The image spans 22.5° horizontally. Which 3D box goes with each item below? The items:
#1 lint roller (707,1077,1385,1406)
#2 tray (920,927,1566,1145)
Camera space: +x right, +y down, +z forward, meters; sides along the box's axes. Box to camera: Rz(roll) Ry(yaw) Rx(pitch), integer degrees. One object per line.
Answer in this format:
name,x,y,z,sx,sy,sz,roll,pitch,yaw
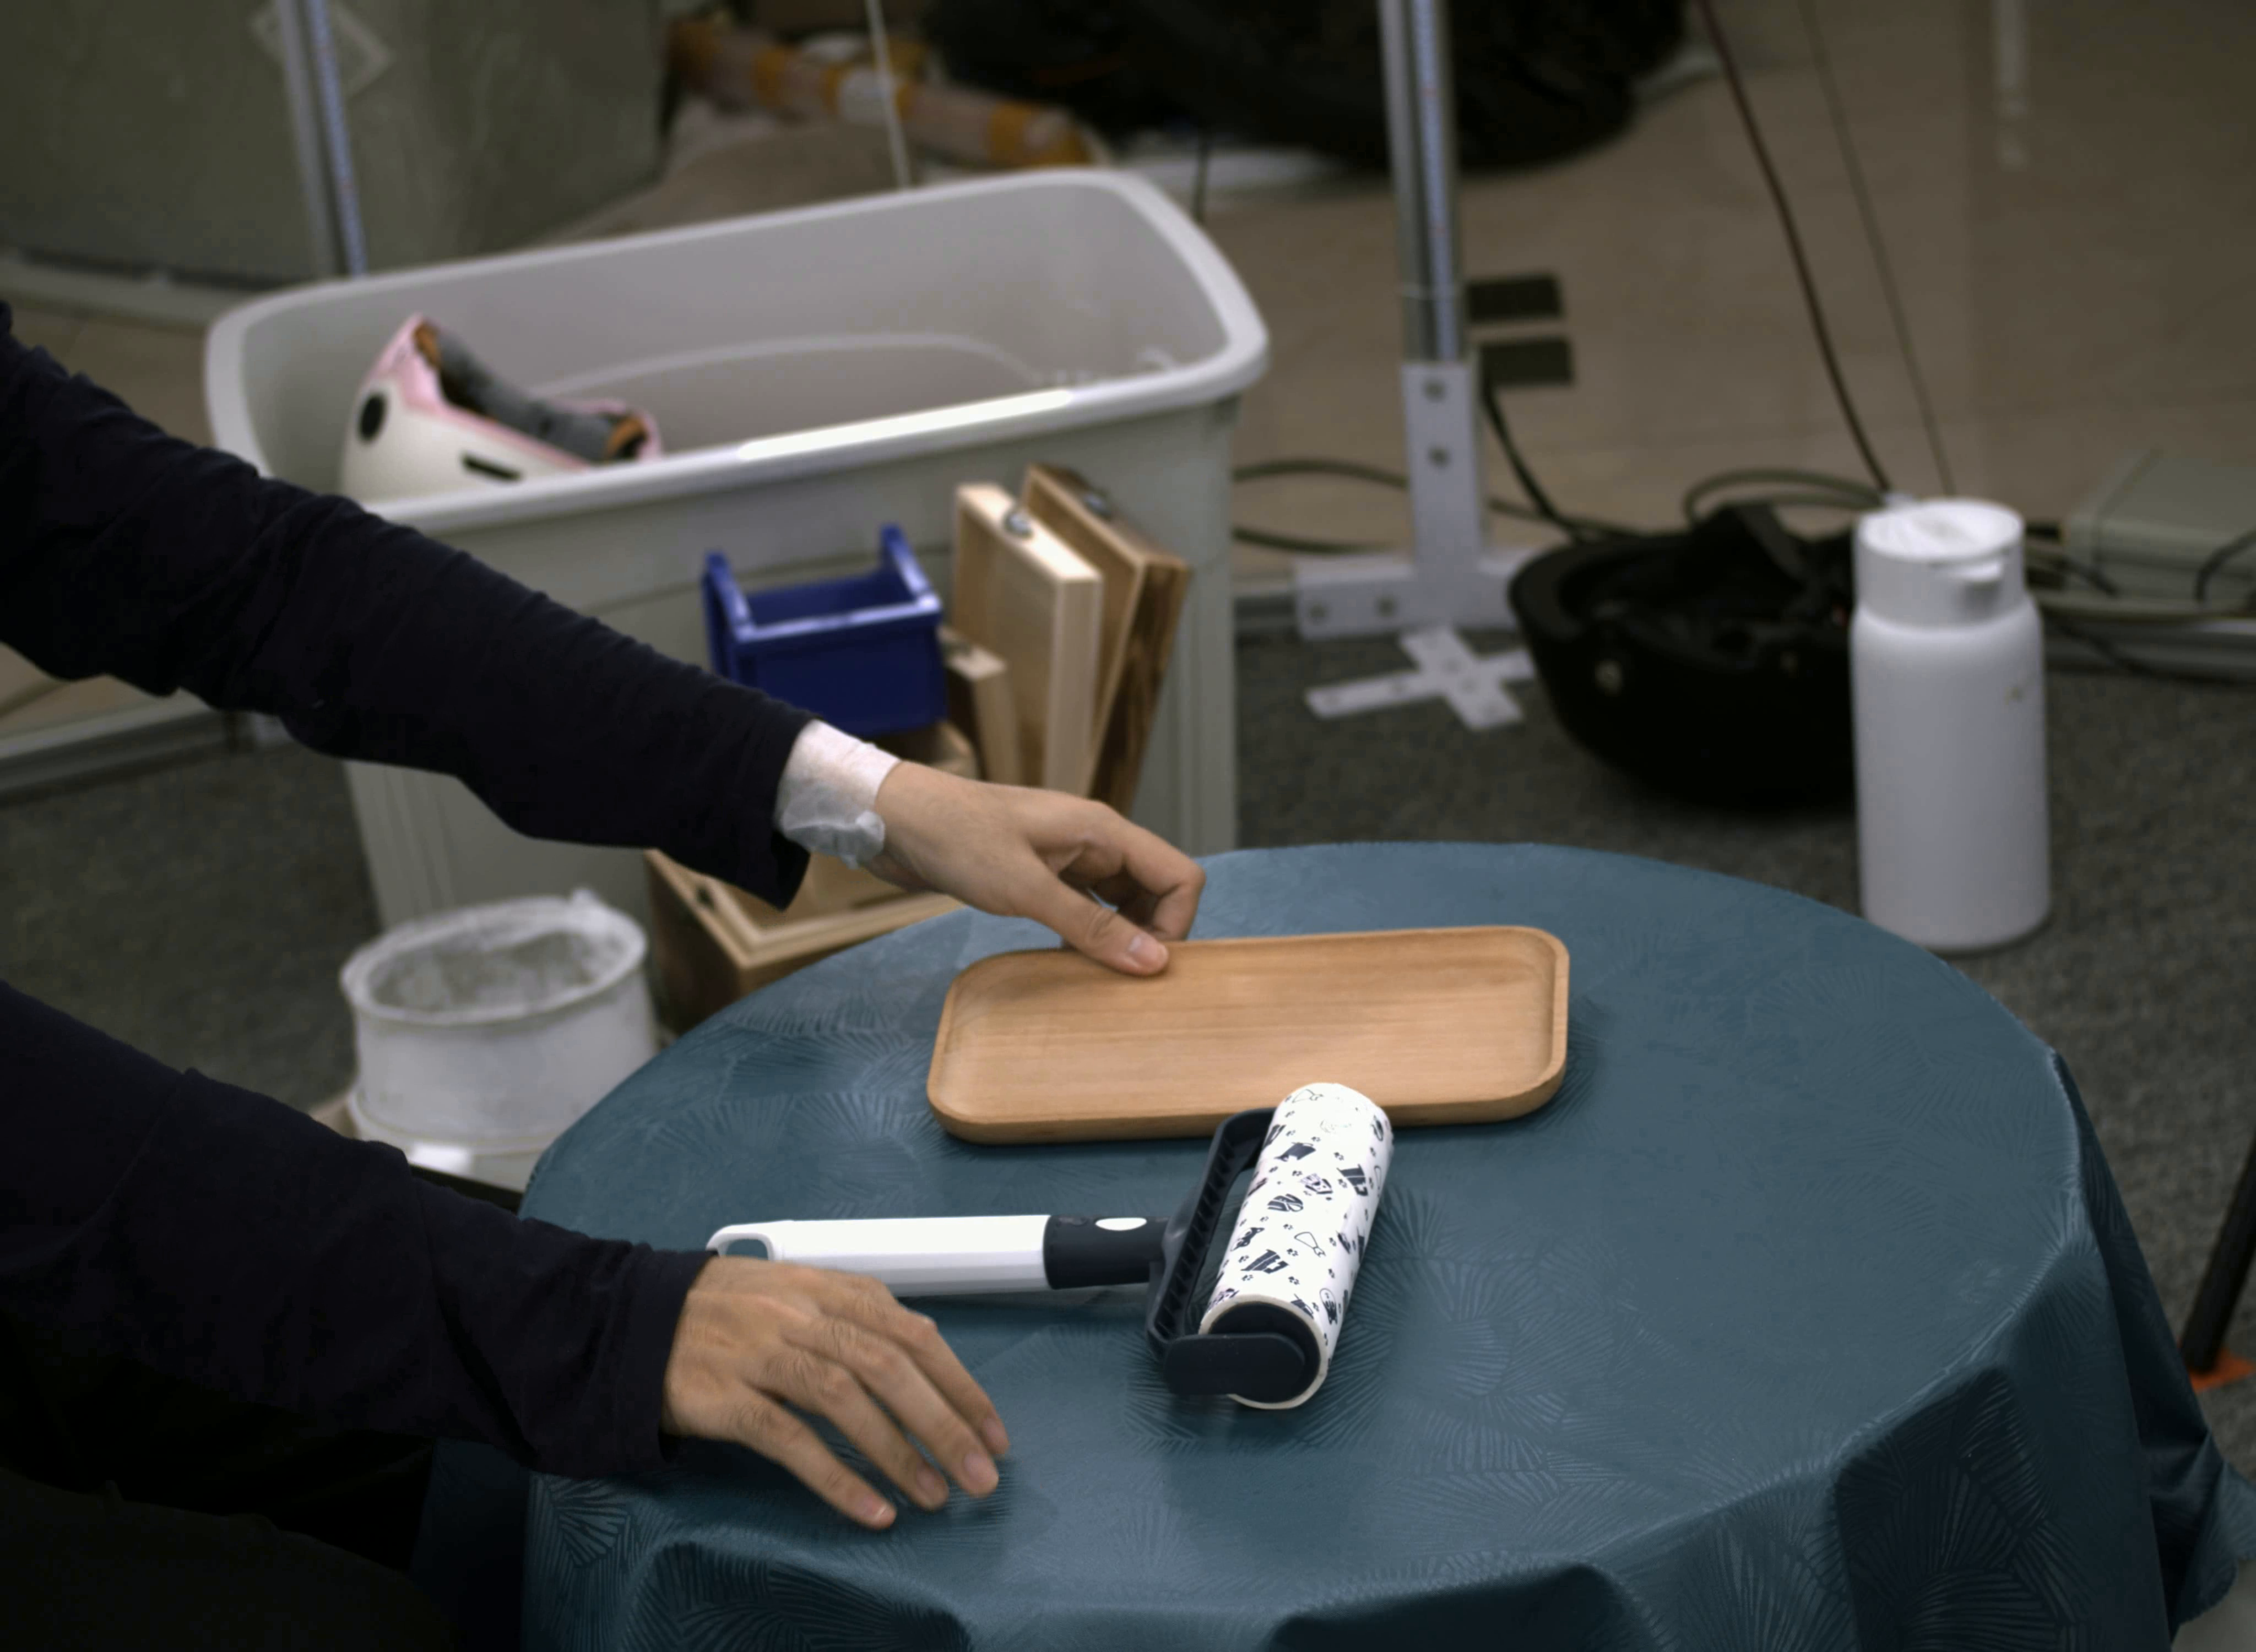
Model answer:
lint roller,-0.037,0.157,2.076,0.247,0.051,0.173,-4,26,13
tray,0.046,0.083,2.229,0.250,0.023,0.128,-3,28,9
